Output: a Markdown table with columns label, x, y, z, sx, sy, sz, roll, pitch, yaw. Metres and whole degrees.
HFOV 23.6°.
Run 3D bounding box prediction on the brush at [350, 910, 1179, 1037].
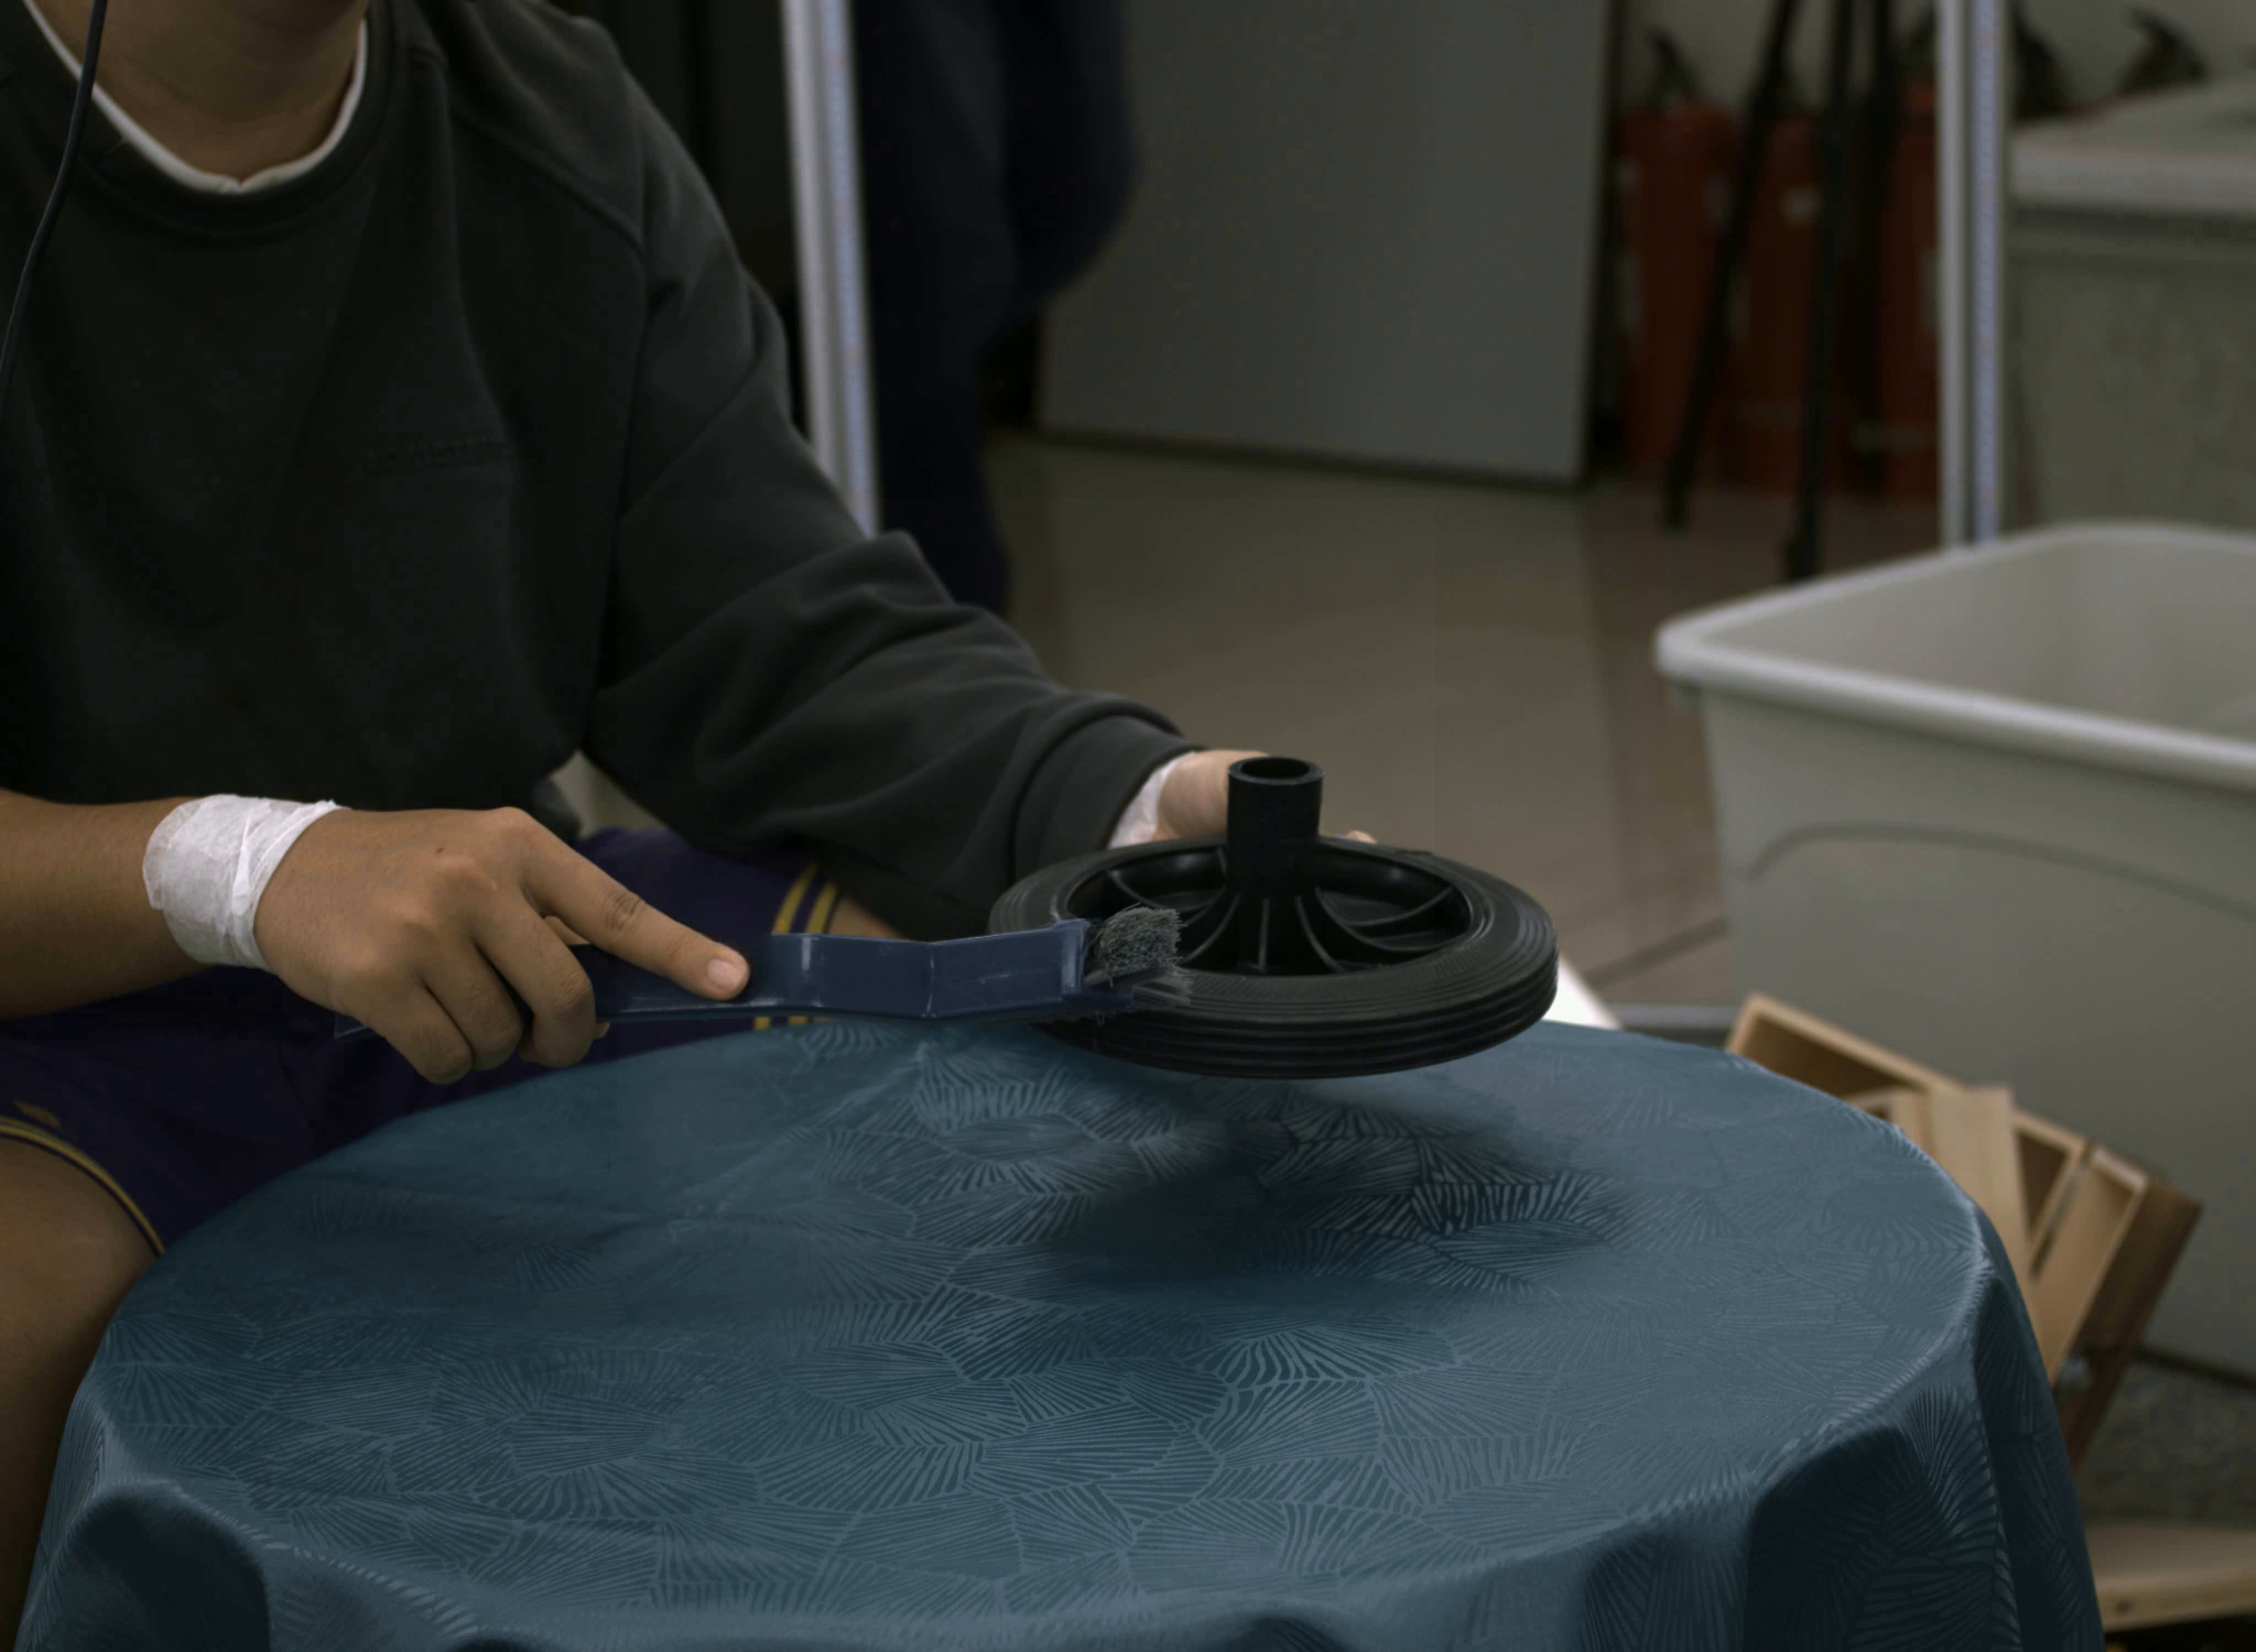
| label | x | y | z | sx | sy | sz | roll | pitch | yaw |
| --- | --- | --- | --- | --- | --- | --- | --- | --- | --- |
| brush | -0.119 | 0.043 | 1.665 | 0.271 | 0.034 | 0.095 | -1 | -13 | 12 |

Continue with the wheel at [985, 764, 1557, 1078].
| label | x | y | z | sx | sy | sz | roll | pitch | yaw |
| --- | --- | --- | --- | --- | --- | --- | --- | --- | --- |
| wheel | 0.046 | 0.022 | 1.746 | 0.184 | 0.080 | 0.191 | -5 | 17 | -15 |
